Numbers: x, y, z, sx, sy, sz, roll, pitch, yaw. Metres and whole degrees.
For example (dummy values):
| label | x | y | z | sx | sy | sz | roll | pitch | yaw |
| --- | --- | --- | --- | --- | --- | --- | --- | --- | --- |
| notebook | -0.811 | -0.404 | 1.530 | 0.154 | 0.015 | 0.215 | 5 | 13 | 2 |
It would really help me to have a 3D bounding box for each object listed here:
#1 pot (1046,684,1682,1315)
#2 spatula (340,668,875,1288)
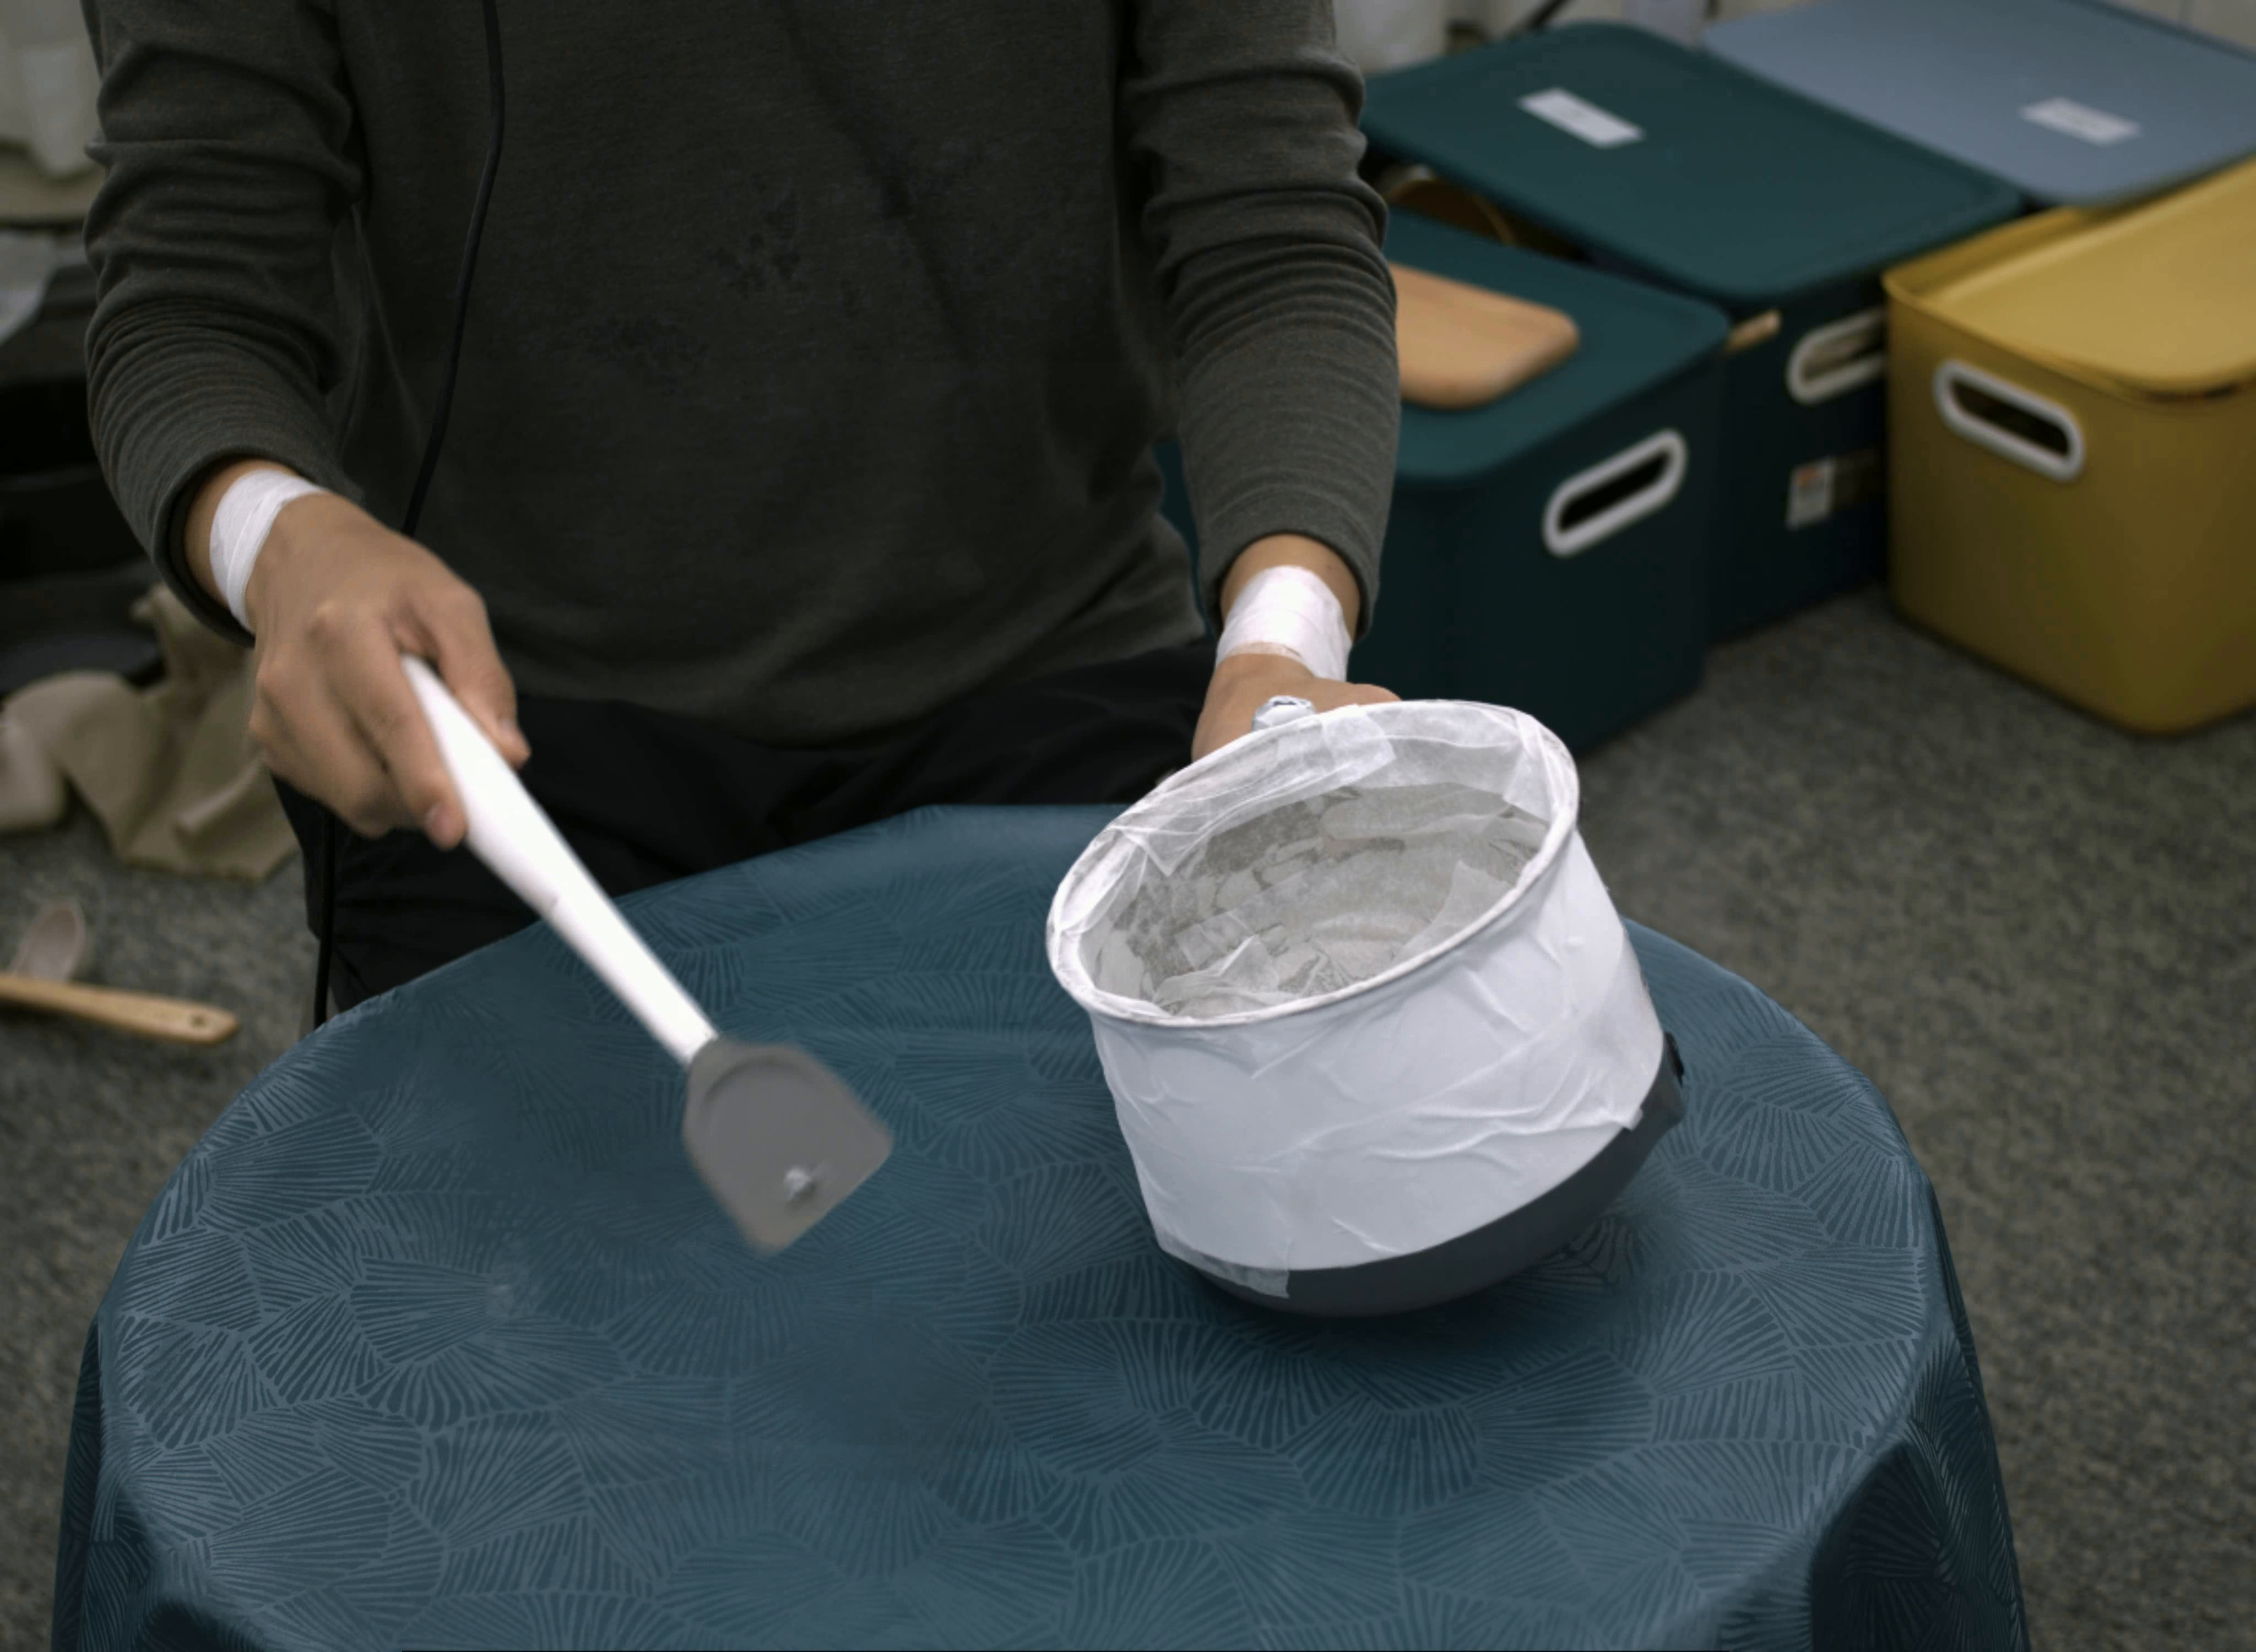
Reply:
| label | x | y | z | sx | sy | sz | roll | pitch | yaw |
| --- | --- | --- | --- | --- | --- | --- | --- | --- | --- |
| pot | 0.073 | 0.046 | 1.817 | 0.178 | 0.135 | 0.237 | -17 | 29 | 2 |
| spatula | -0.167 | 0.043 | 1.768 | 0.059 | 0.032 | 0.290 | -39 | 52 | -6 |
